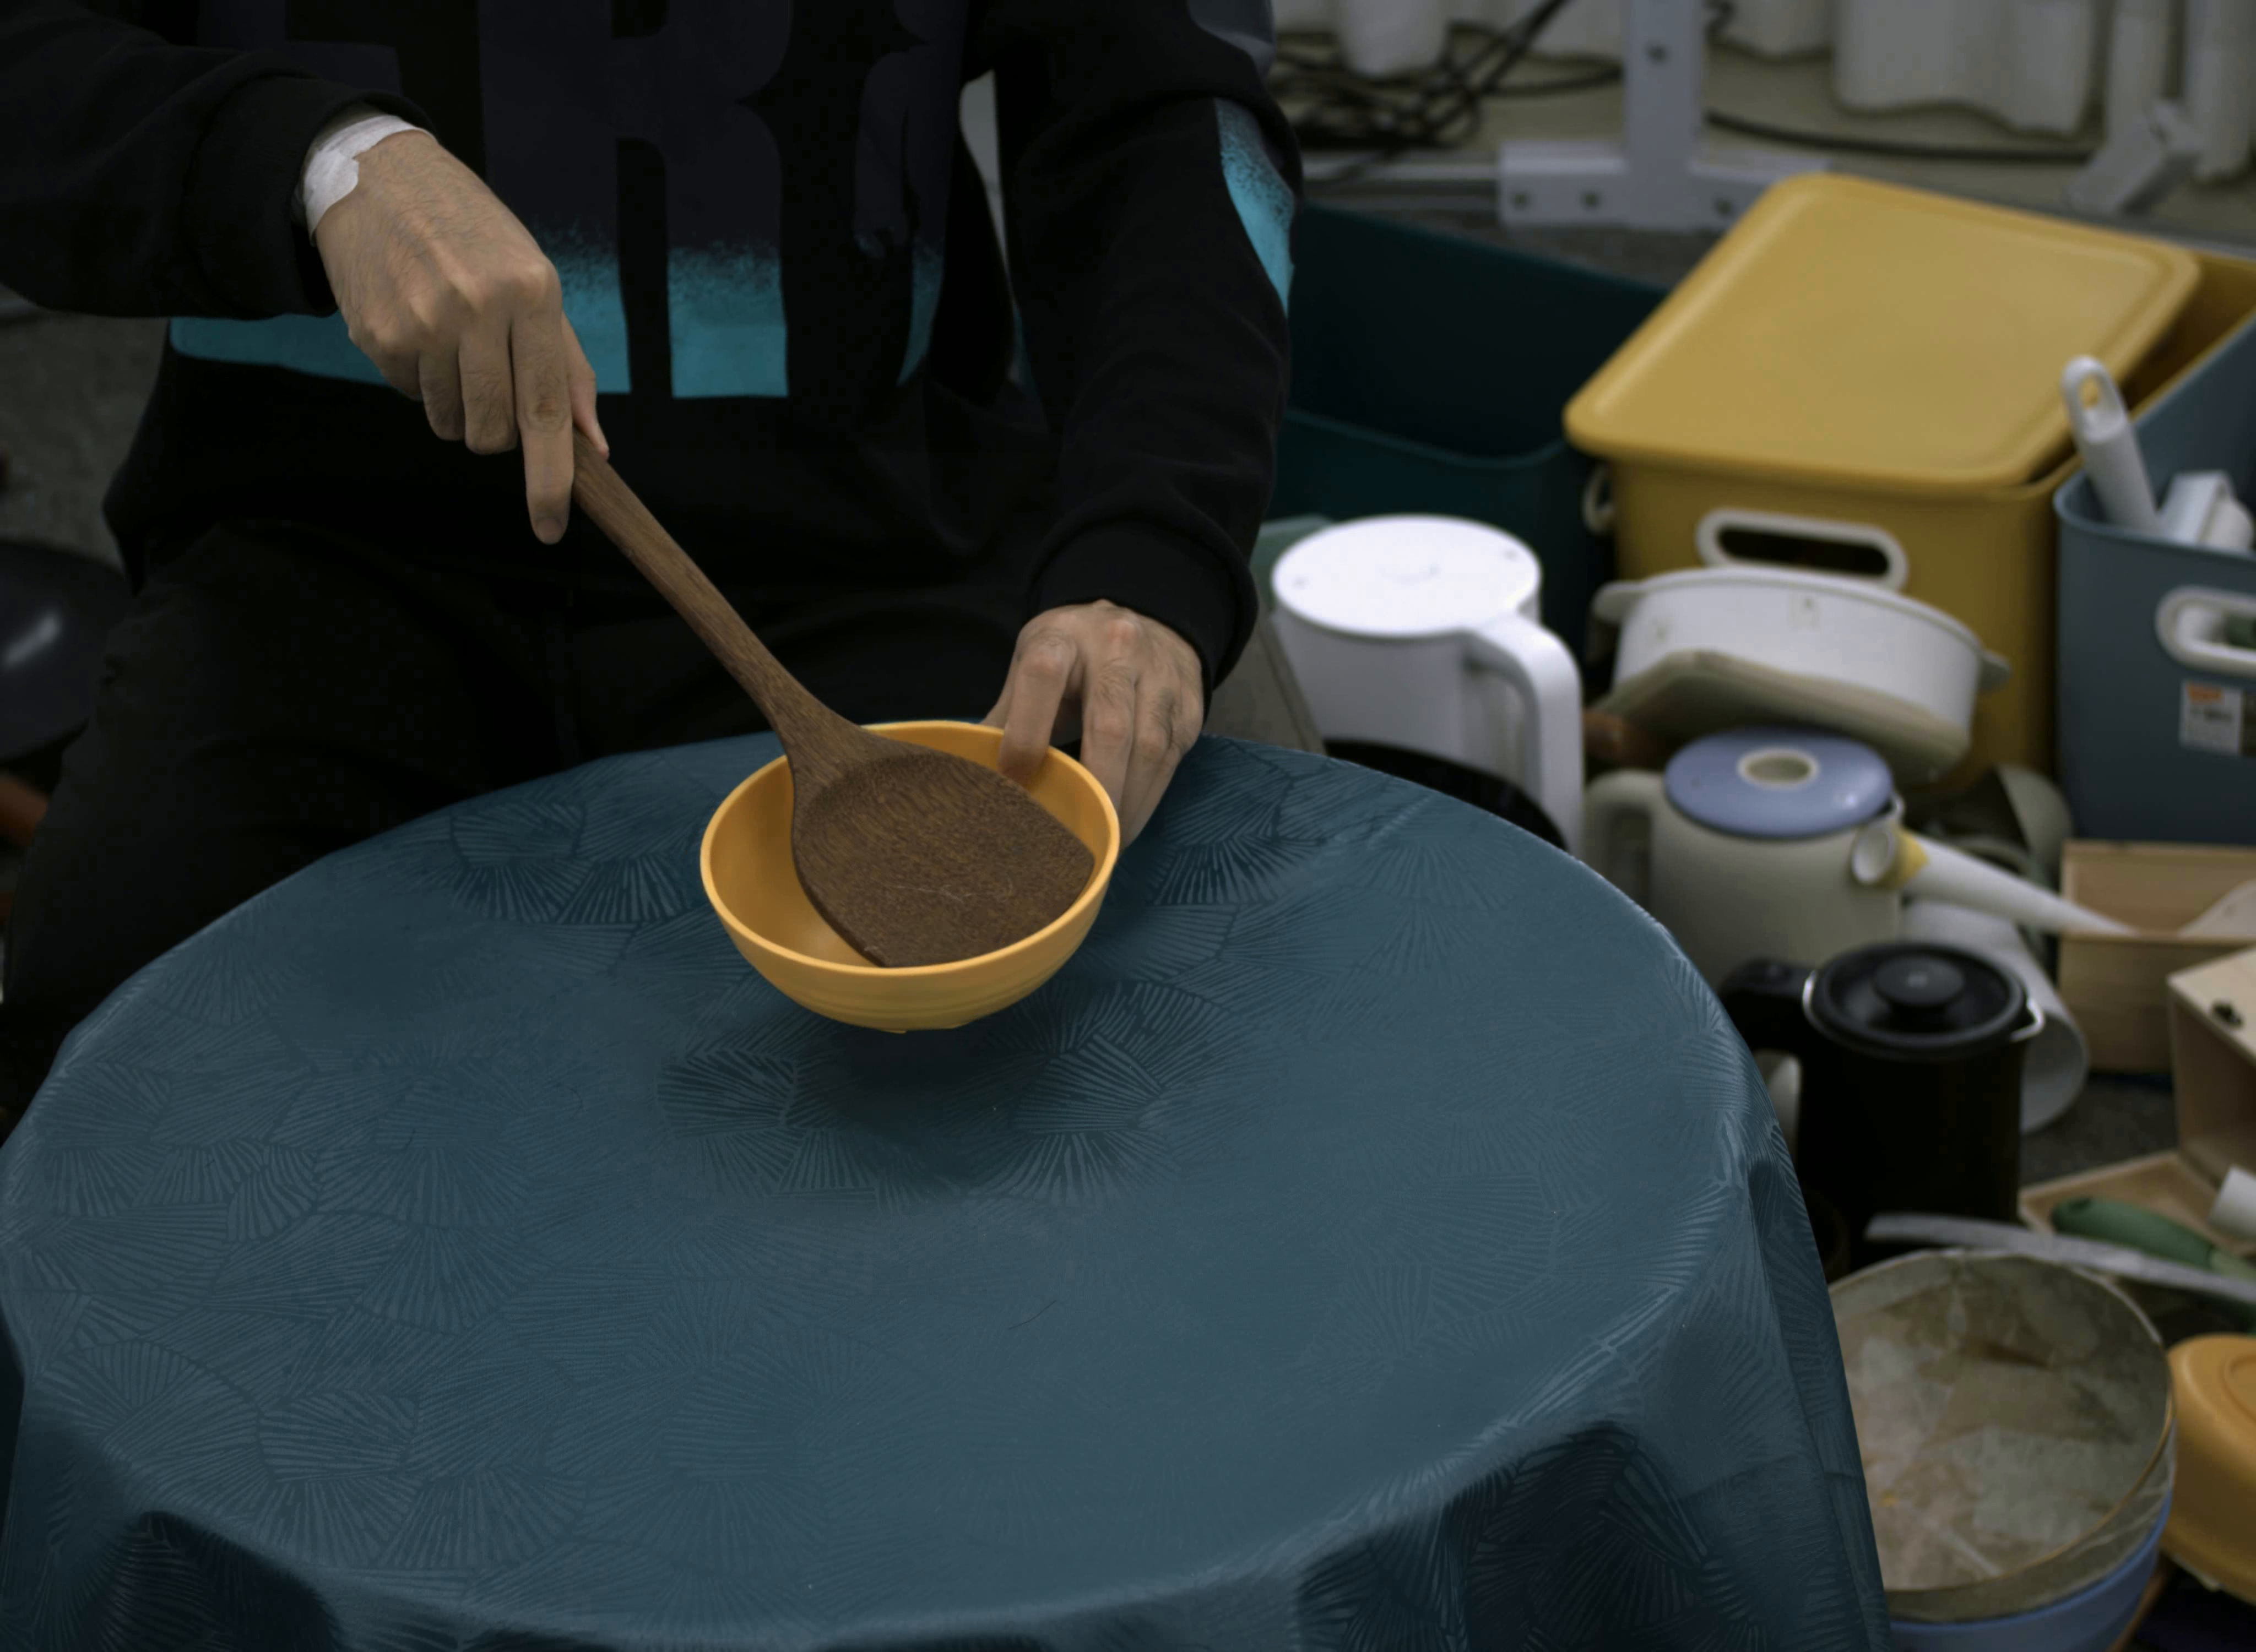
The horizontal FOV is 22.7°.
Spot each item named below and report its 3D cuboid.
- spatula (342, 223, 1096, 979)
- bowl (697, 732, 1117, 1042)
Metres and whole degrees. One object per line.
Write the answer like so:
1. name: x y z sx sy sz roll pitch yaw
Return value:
1. spatula: -0.158 -0.088 1.967 0.097 0.015 0.388 -28 63 -31
2. bowl: -0.075 0.032 1.941 0.144 0.059 0.148 0 34 0
